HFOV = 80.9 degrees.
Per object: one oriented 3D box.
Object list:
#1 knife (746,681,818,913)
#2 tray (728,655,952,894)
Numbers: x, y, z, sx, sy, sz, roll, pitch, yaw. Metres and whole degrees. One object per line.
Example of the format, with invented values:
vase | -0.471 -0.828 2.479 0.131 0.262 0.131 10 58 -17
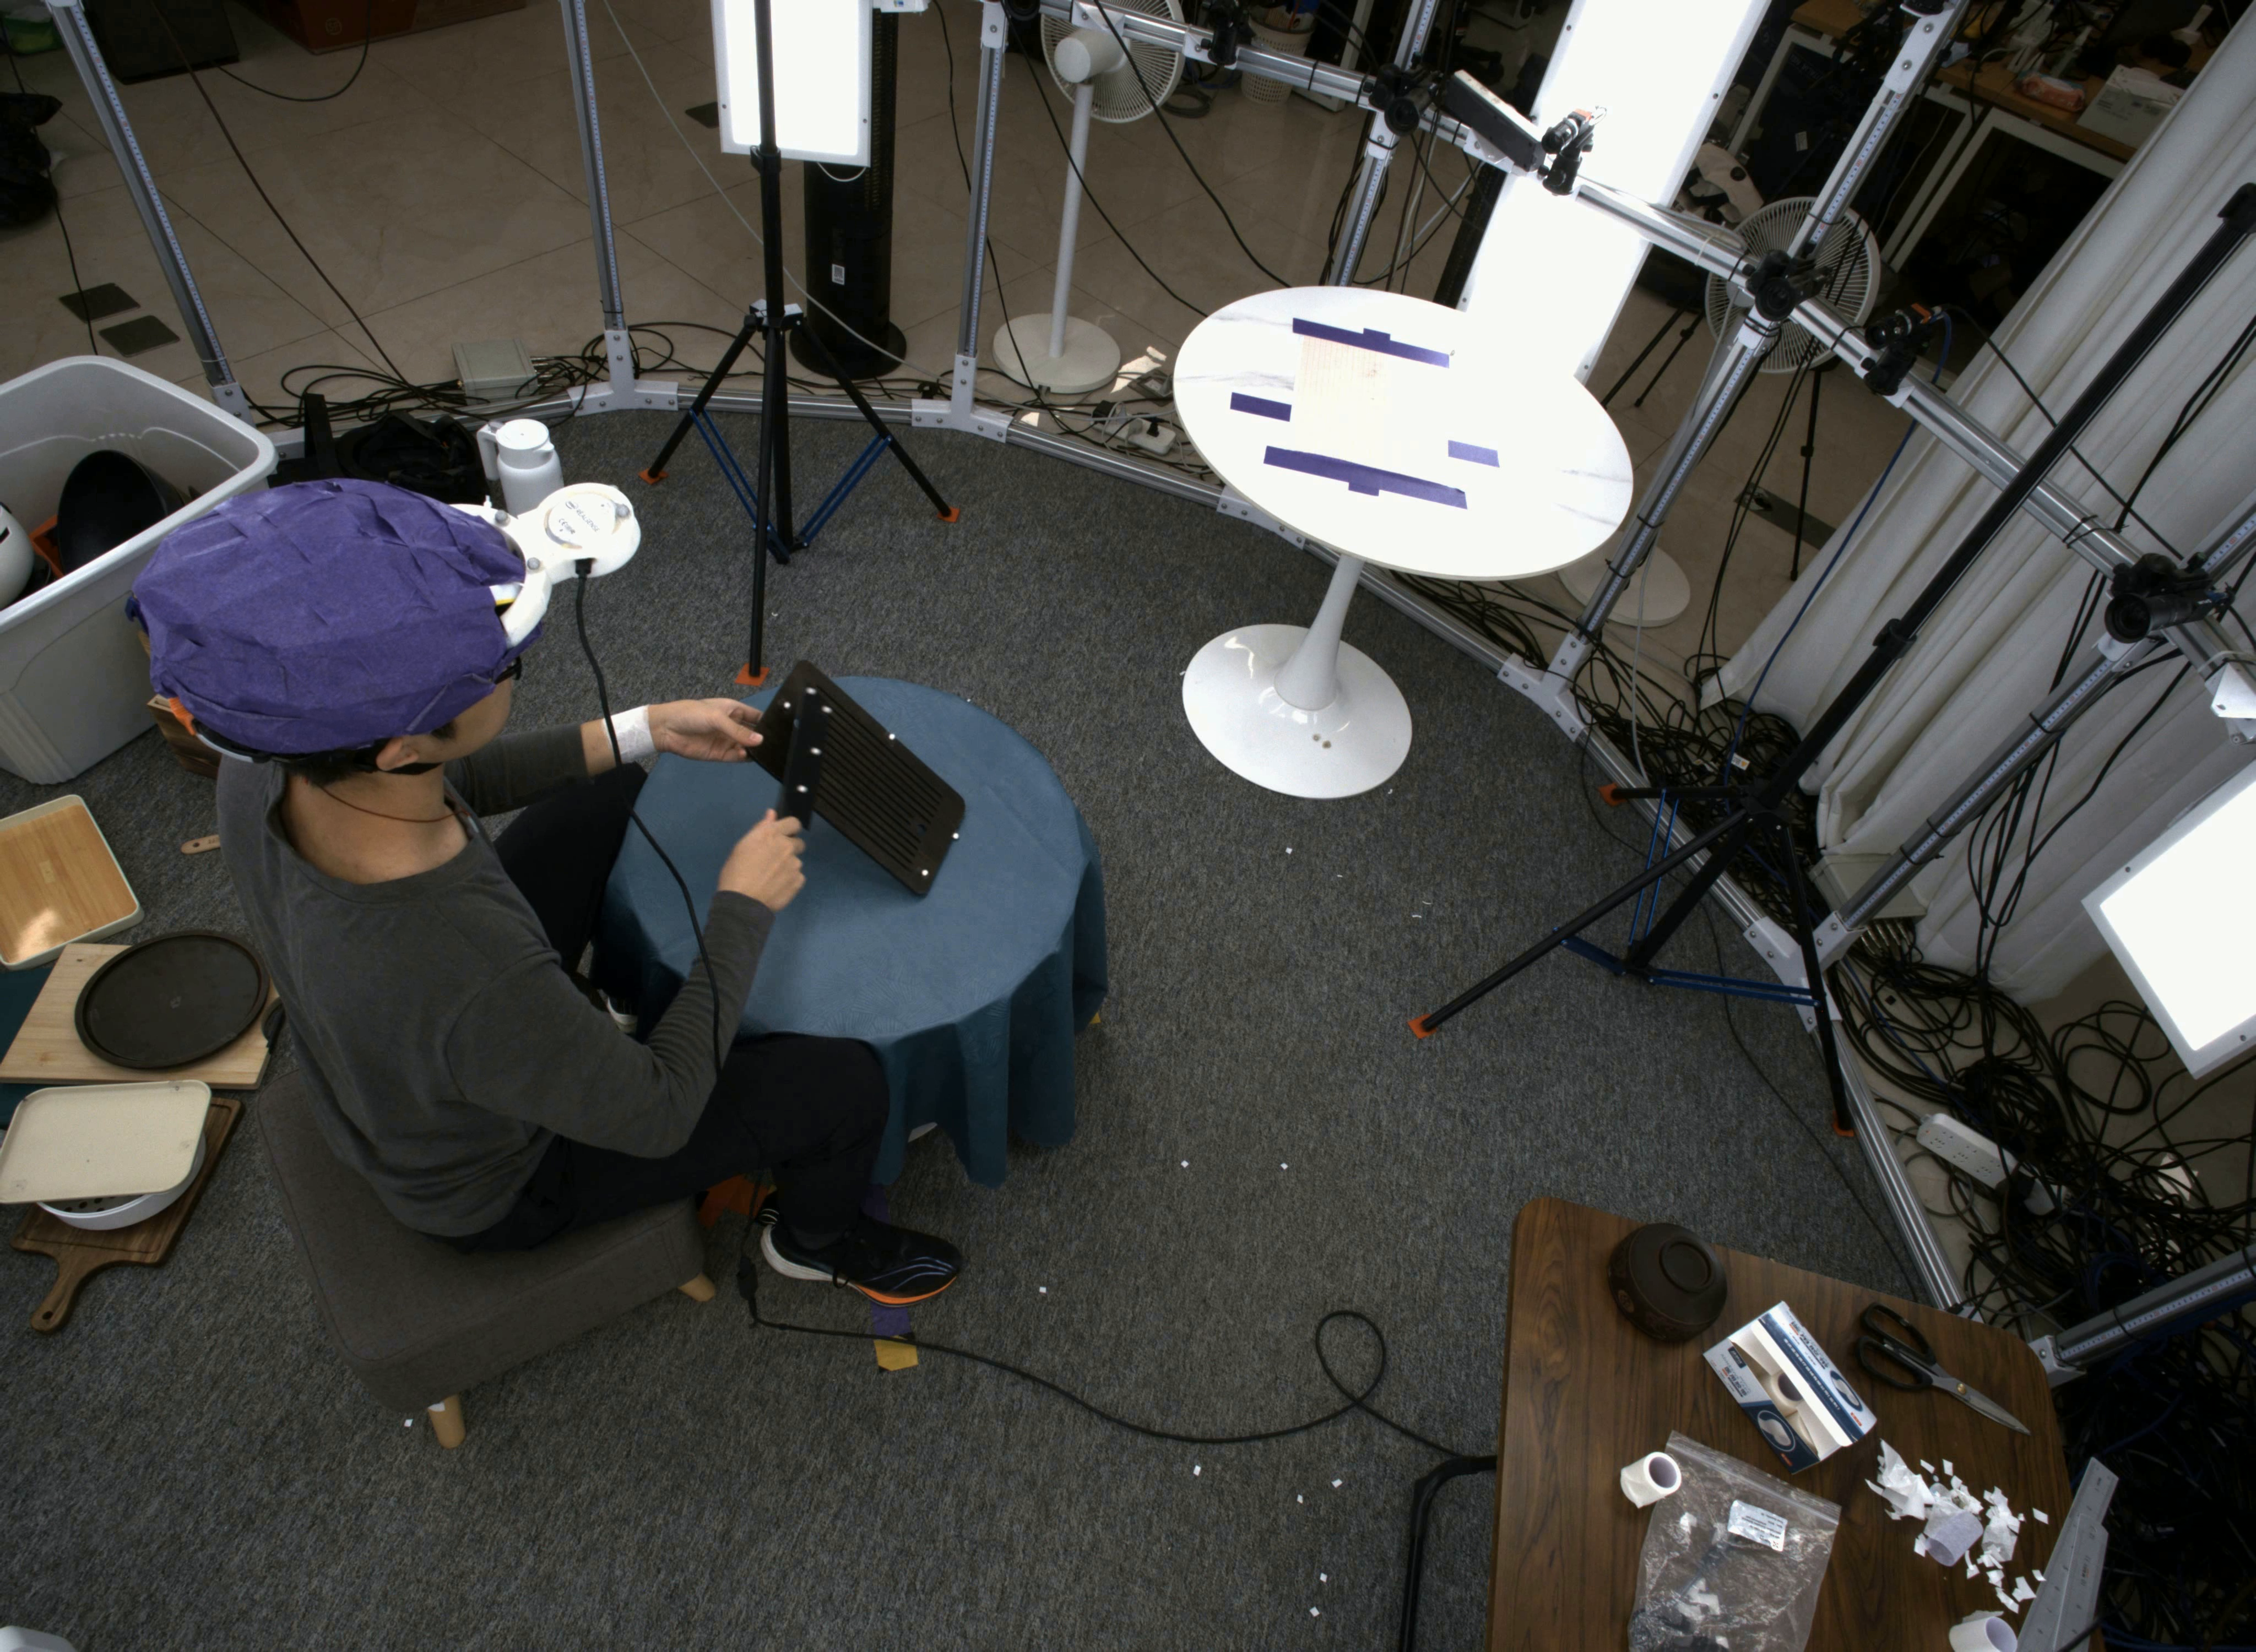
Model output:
knife | -0.408 -0.036 1.537 0.020 0.084 0.298 -7 56 18
tray | -0.364 -0.063 1.671 0.316 0.018 0.168 44 47 -30
